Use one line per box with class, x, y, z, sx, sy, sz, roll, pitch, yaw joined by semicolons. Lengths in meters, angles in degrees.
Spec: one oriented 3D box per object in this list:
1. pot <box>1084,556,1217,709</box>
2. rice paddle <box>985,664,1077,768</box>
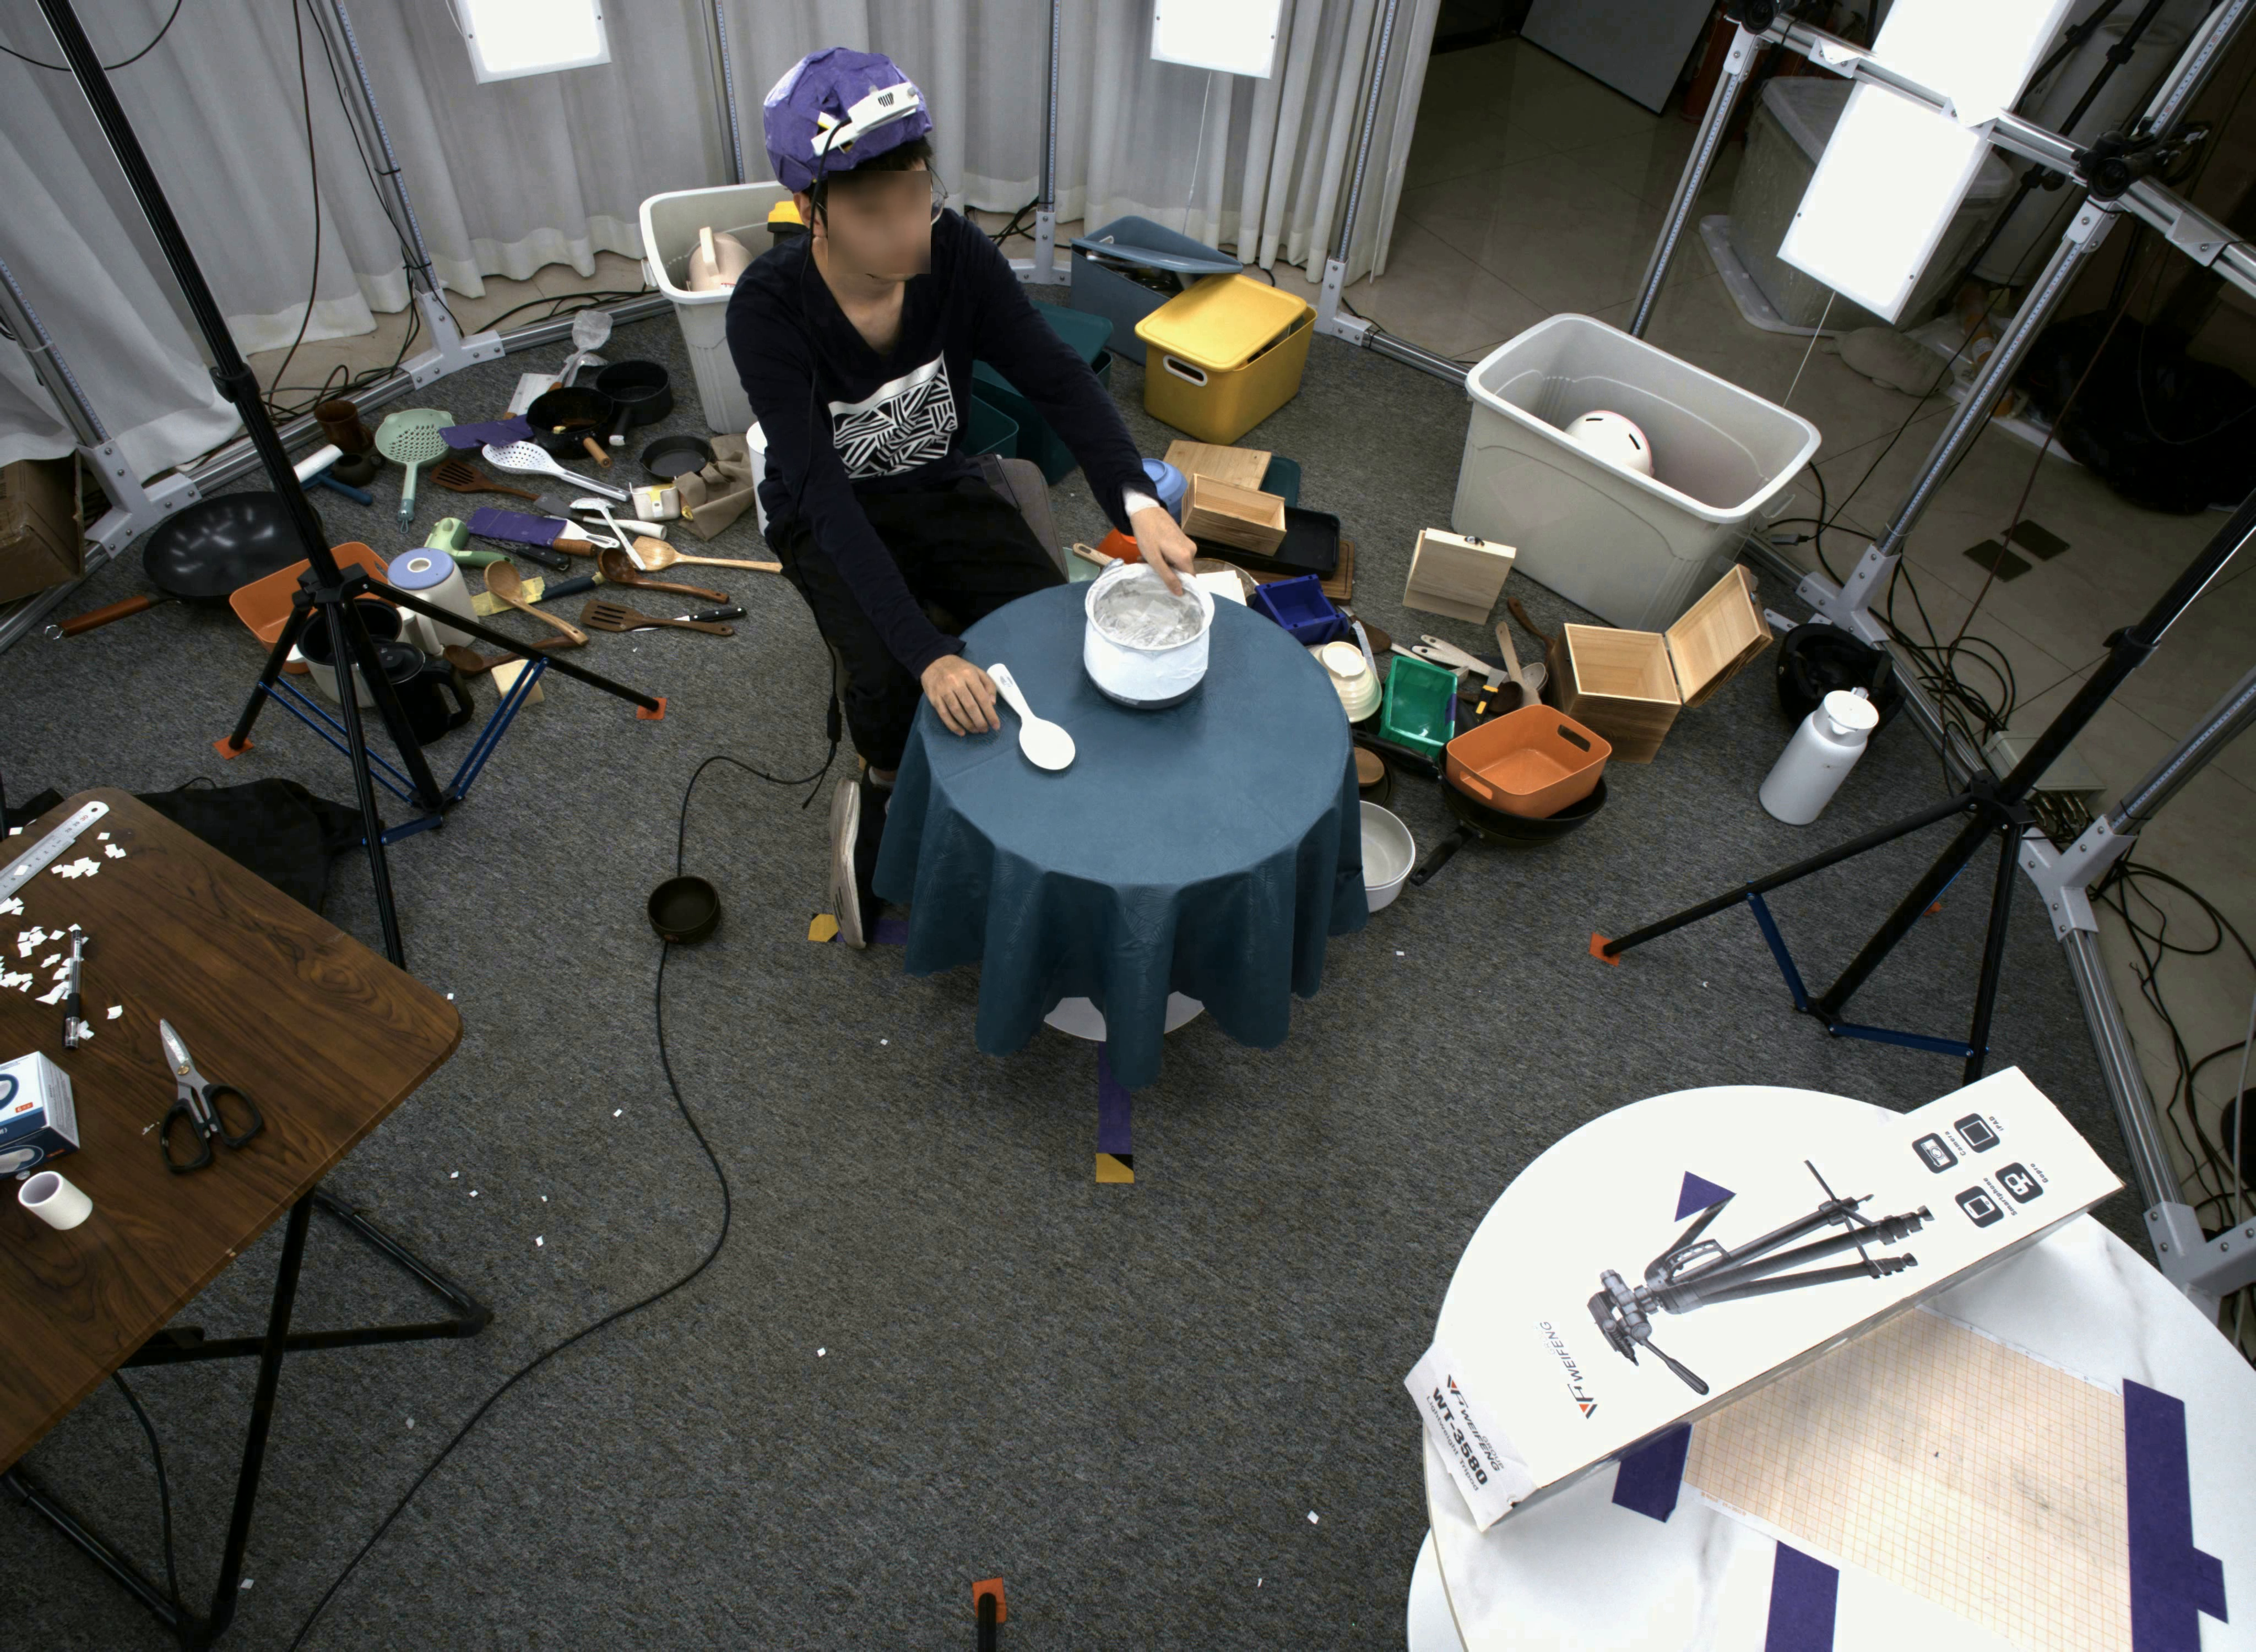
pot;0.015;-0.284;1.822;0.179;0.133;0.239;-18;54;-21
rice paddle;-0.137;-0.151;1.770;0.069;0.029;0.209;-23;54;-20
